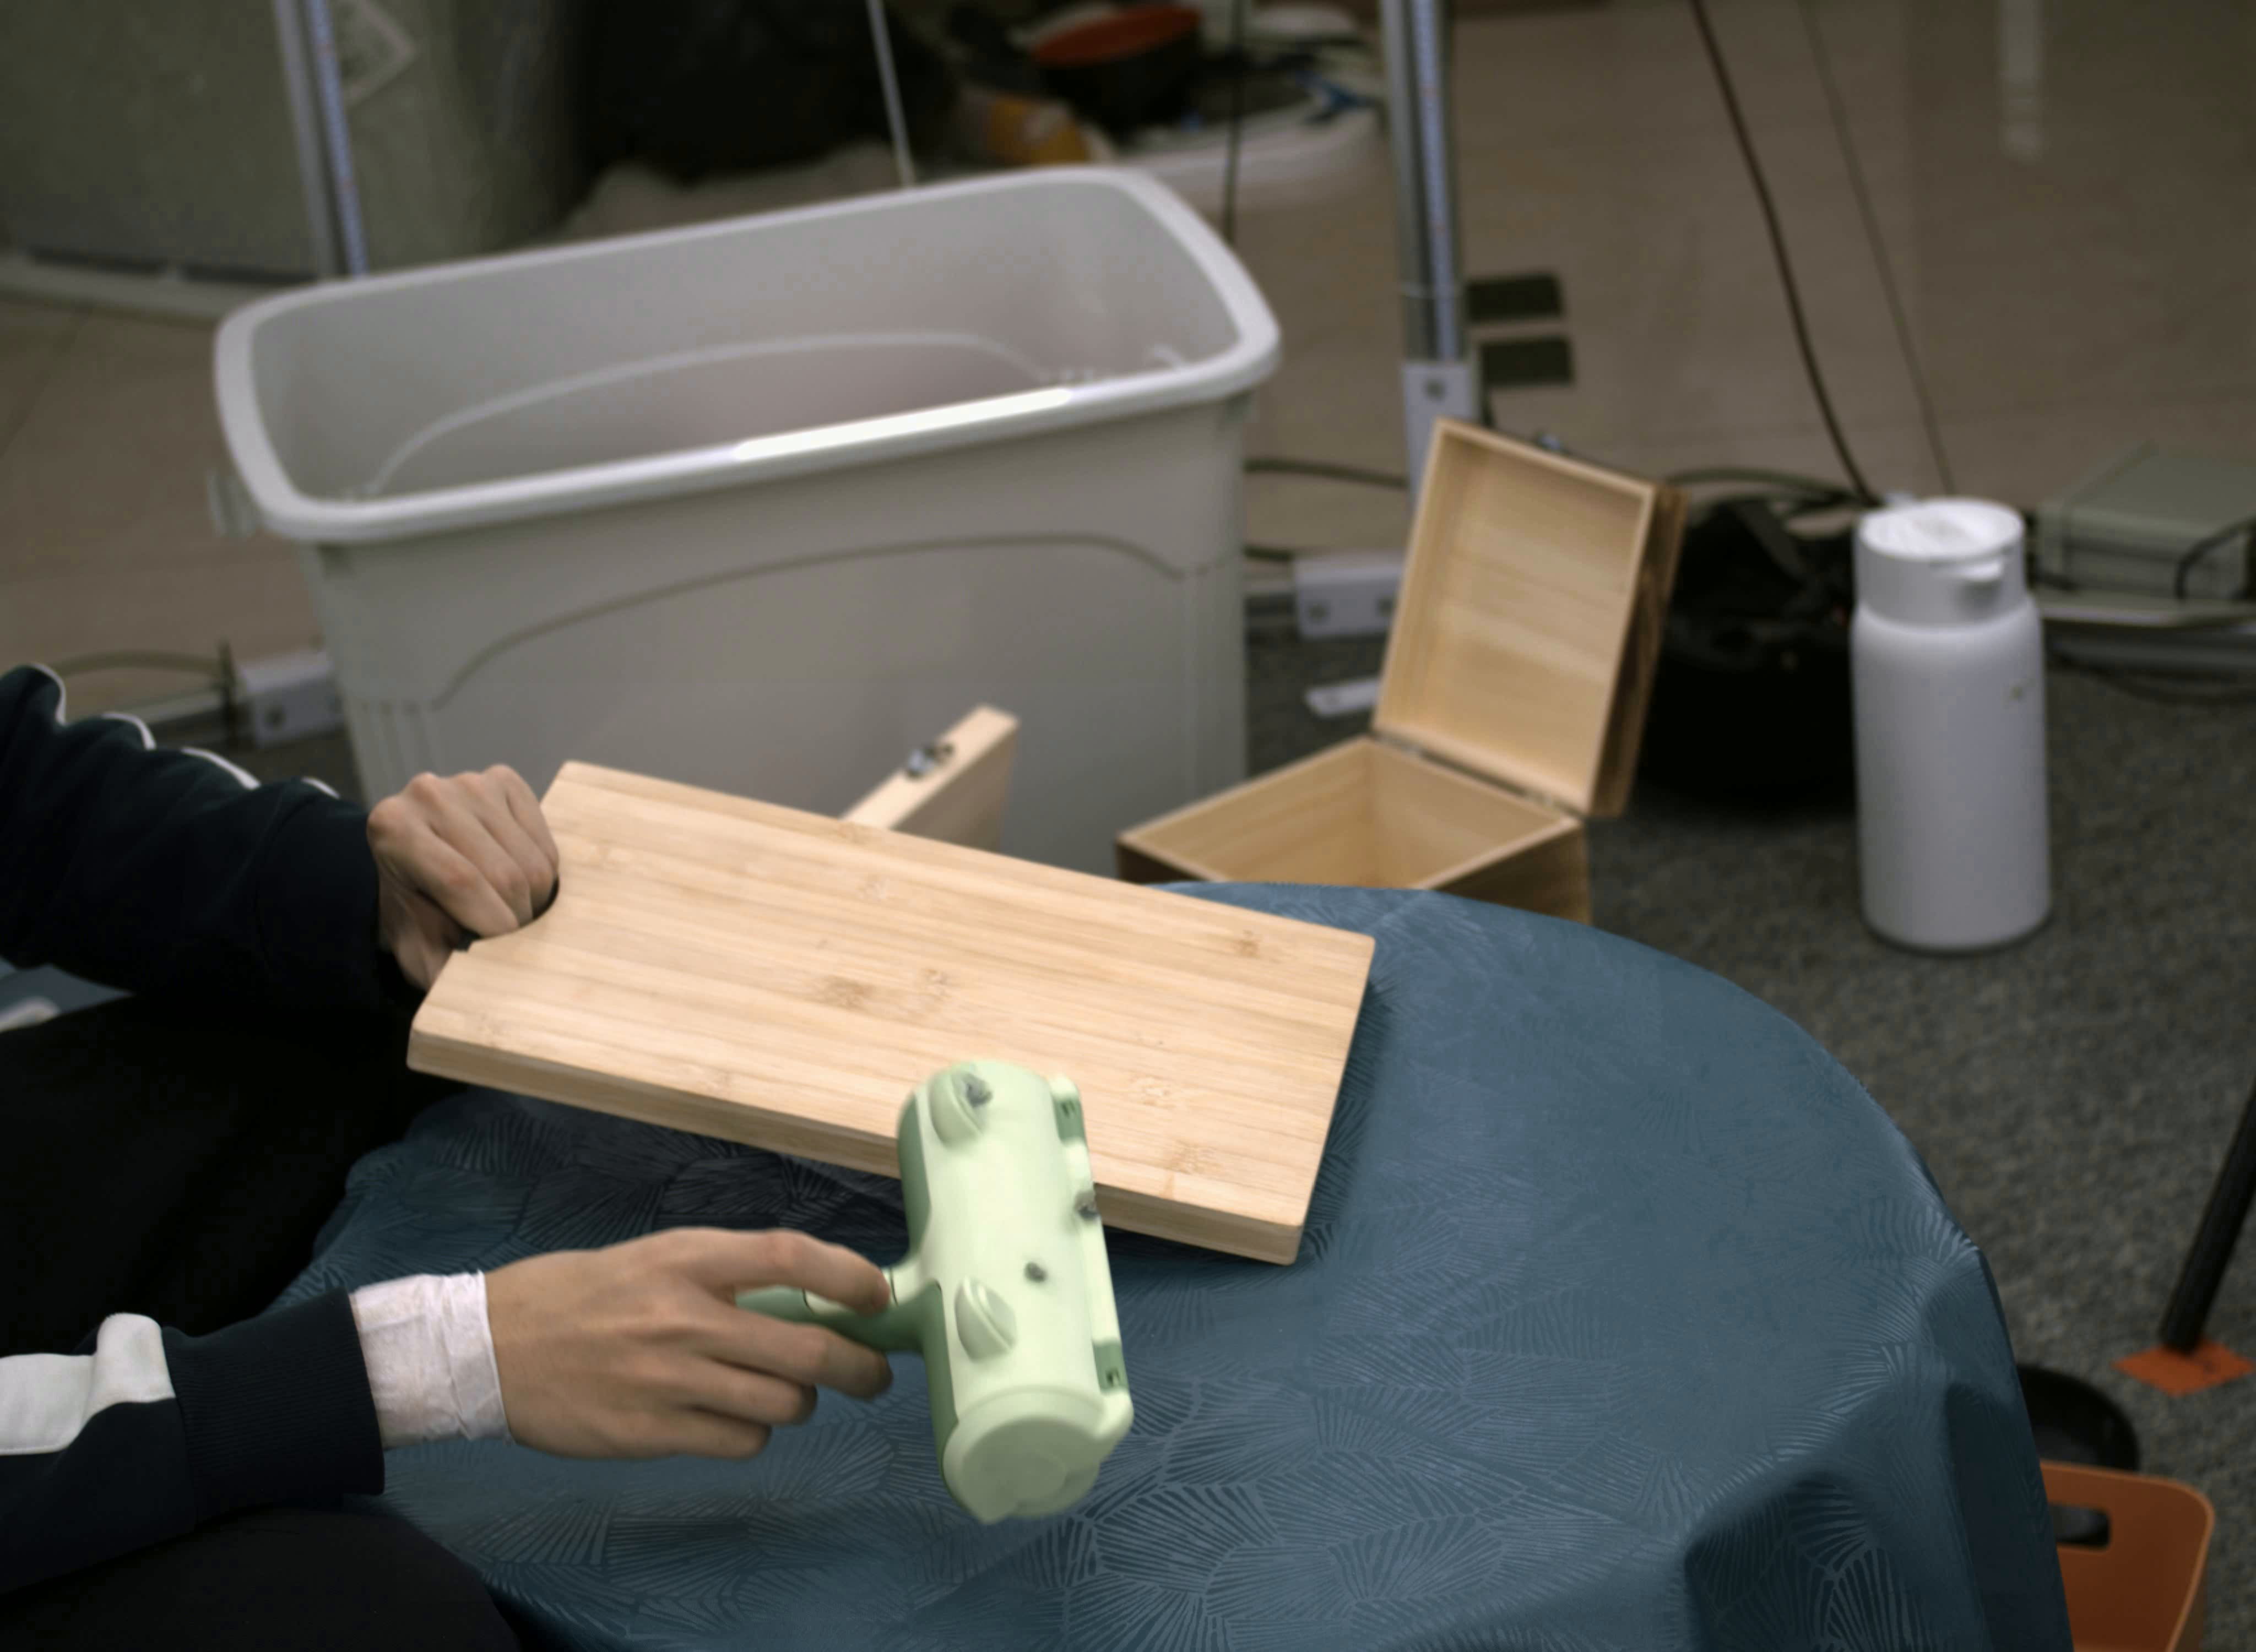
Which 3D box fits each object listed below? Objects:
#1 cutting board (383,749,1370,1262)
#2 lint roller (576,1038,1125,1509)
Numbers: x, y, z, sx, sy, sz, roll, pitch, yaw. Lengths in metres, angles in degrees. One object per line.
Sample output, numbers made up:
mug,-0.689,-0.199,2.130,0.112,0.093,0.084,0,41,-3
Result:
cutting board,-0.090,0.066,2.193,0.348,0.024,0.247,13,27,3
lint roller,-0.101,0.151,1.928,0.183,0.084,0.195,-8,37,-3
